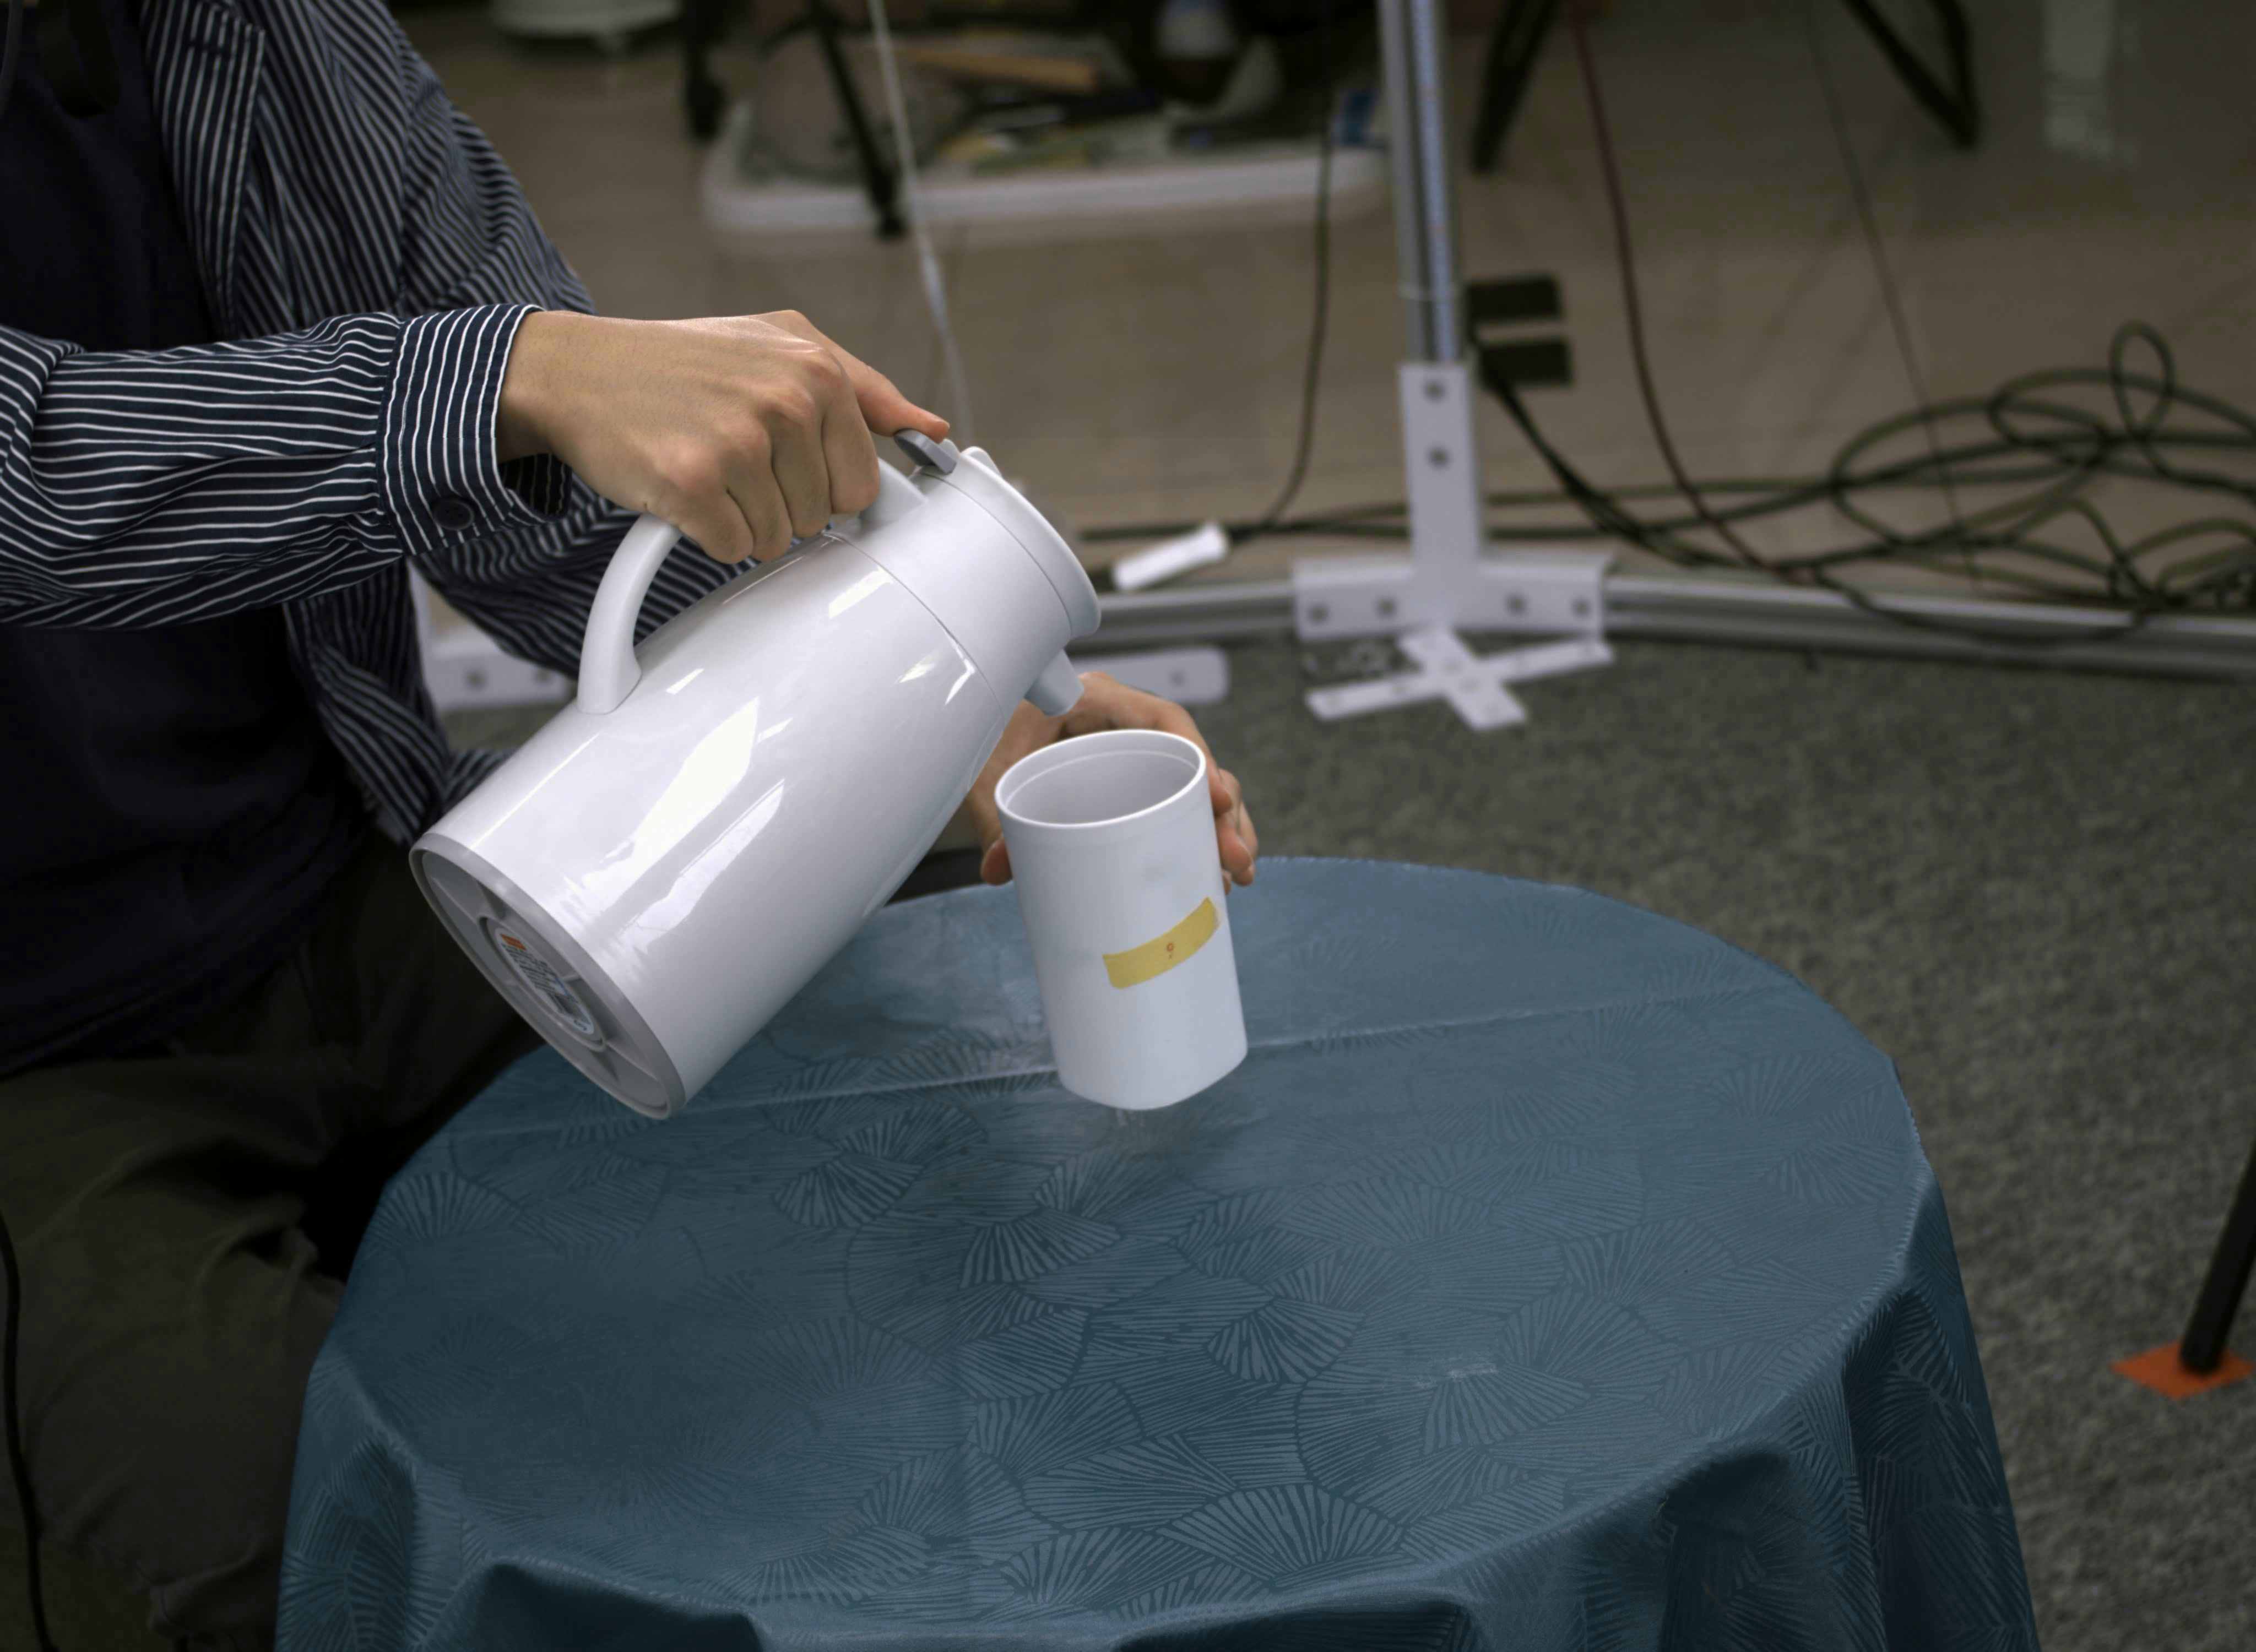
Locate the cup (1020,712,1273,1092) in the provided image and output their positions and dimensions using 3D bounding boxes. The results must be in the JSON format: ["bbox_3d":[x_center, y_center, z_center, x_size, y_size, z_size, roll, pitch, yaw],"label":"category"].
[{"bbox_3d":[0.010,0.030,2.152,0.081,0.127,0.080,-9,27,5],"label":"cup"}]

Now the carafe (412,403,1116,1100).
[{"bbox_3d":[-0.127,-0.044,2.012,0.247,0.170,0.131,-41,35,-15],"label":"carafe"}]
